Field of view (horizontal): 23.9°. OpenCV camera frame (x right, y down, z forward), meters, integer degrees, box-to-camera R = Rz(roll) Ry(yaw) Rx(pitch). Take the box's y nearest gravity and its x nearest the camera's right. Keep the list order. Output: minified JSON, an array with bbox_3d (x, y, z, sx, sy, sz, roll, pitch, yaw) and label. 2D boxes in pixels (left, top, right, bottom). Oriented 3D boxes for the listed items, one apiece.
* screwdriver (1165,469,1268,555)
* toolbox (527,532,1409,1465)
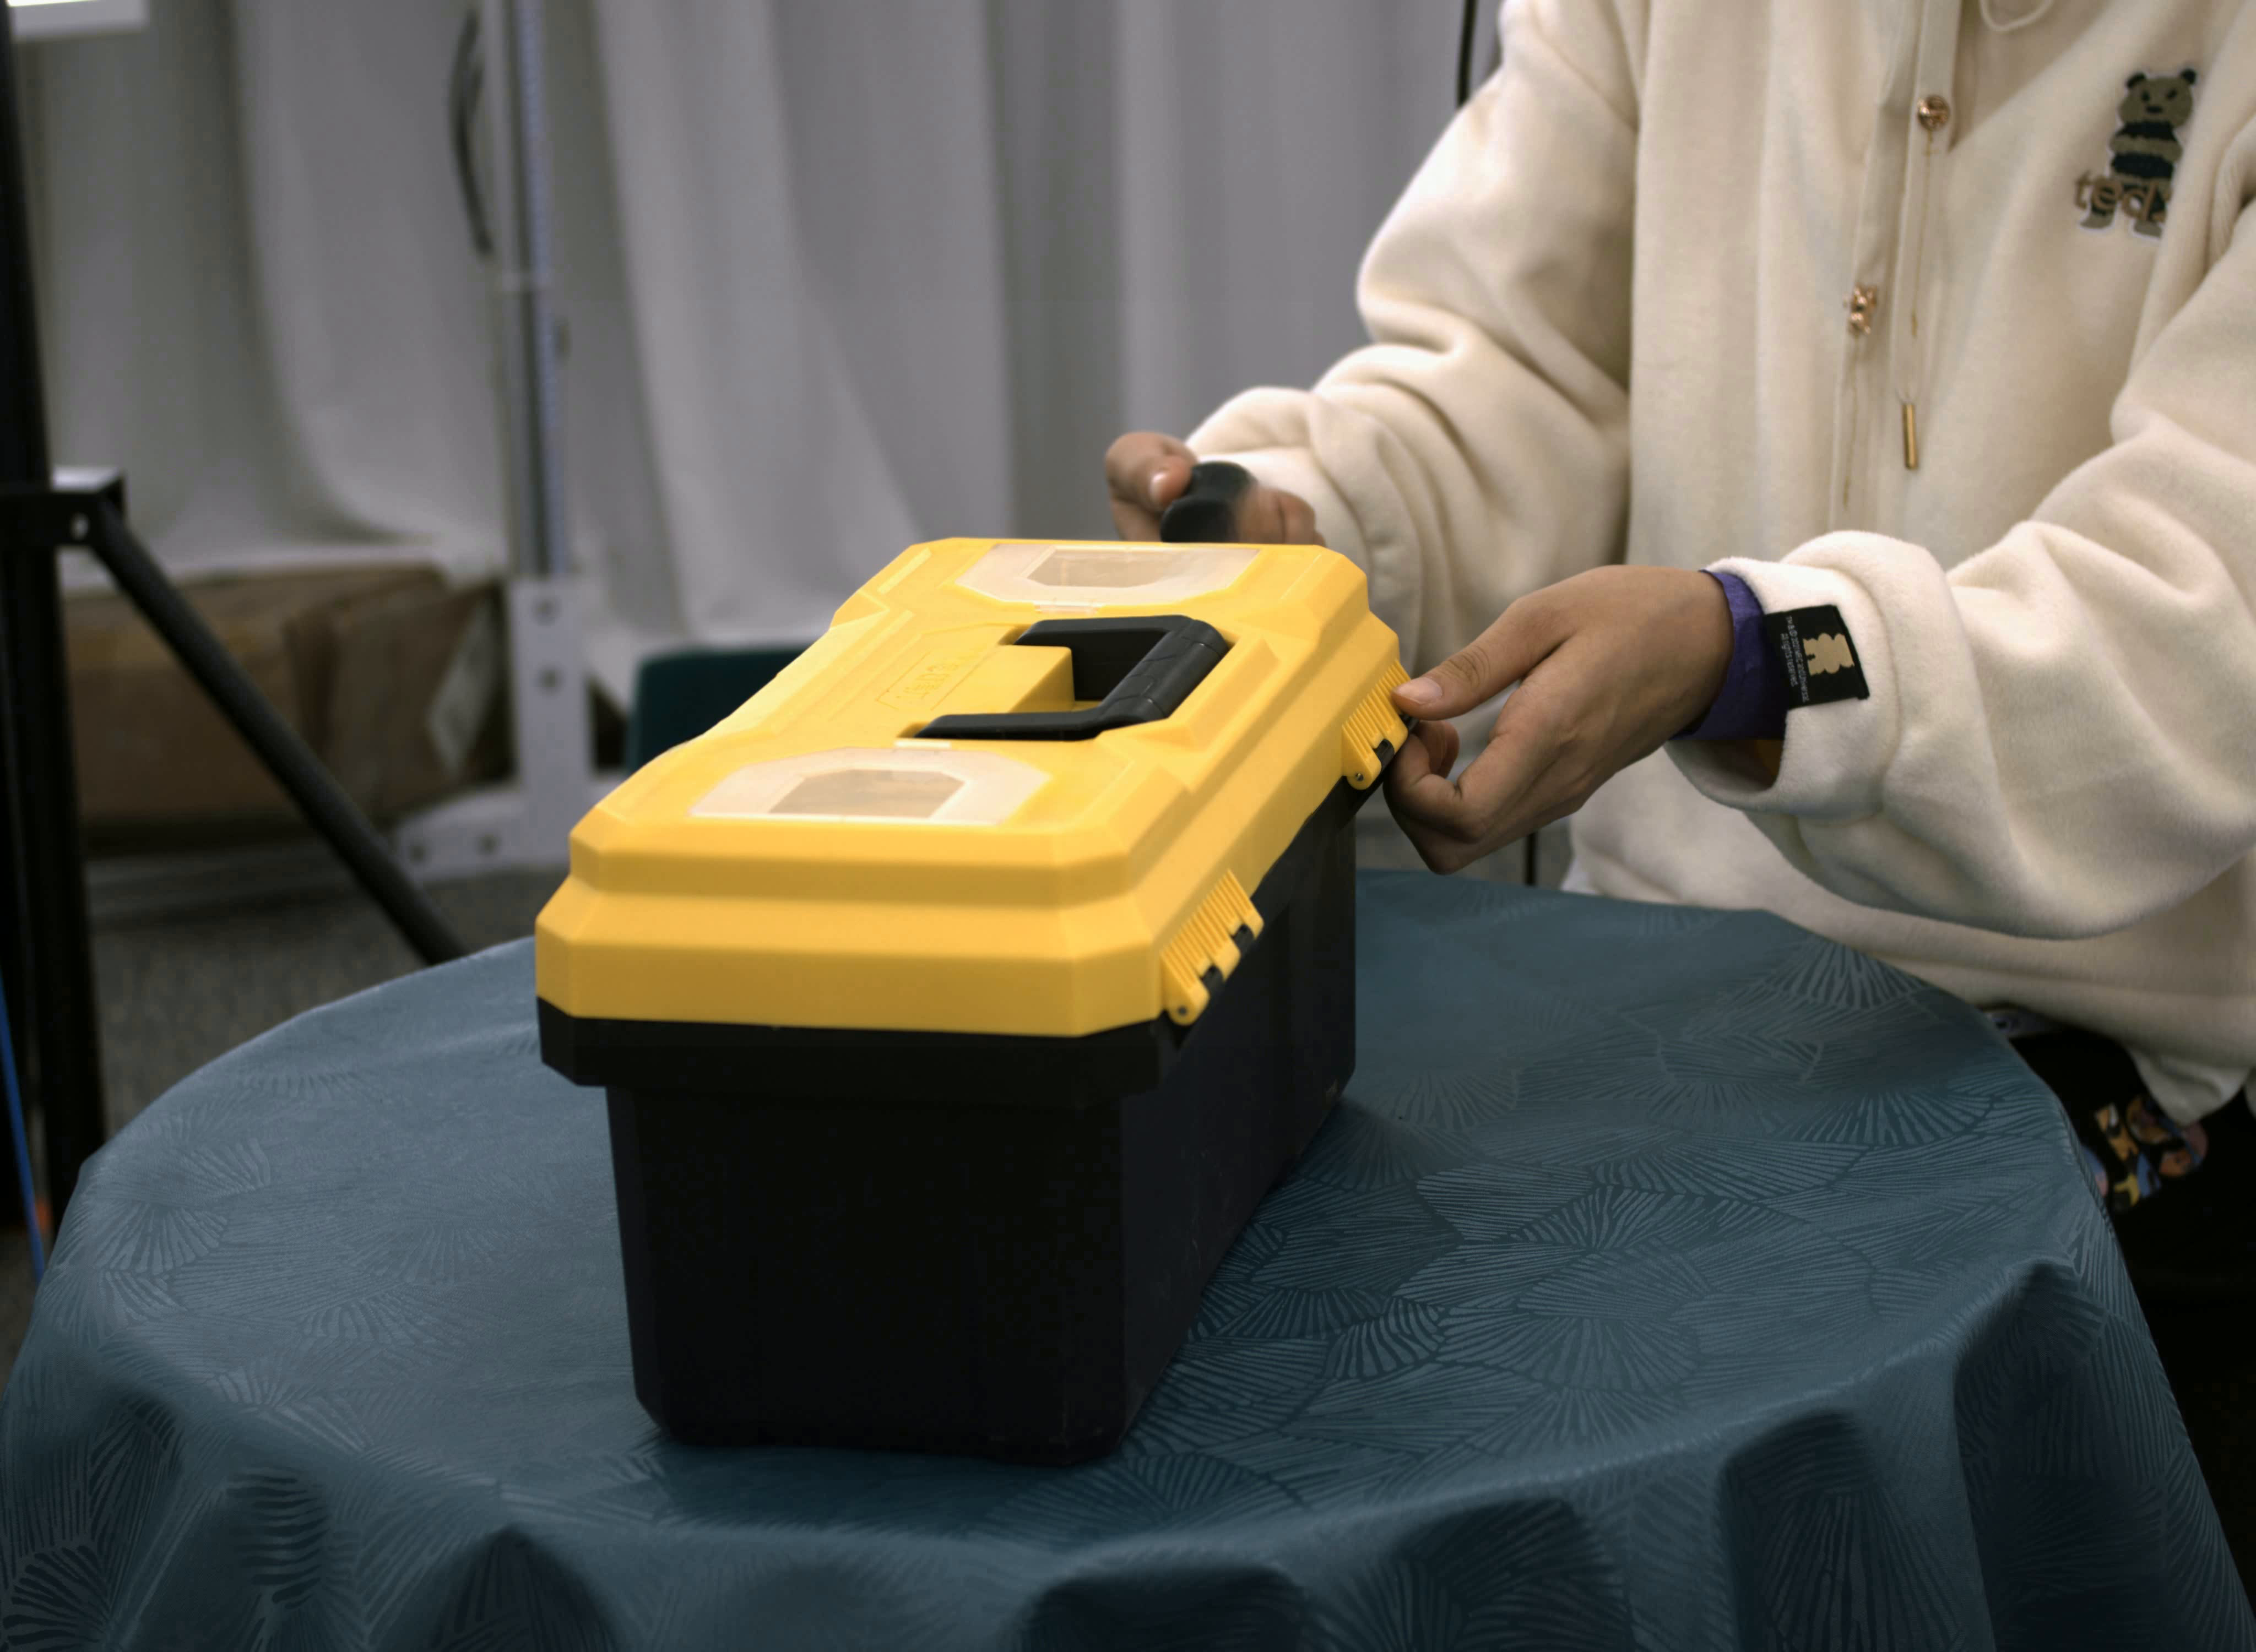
[{"bbox_3d":[0.023,-0.088,1.720,0.031,0.031,0.195,0,14,8],"label":"screwdriver"},{"bbox_3d":[-0.032,0.038,1.492,0.183,0.173,0.348,2,16,15],"label":"toolbox"}]
